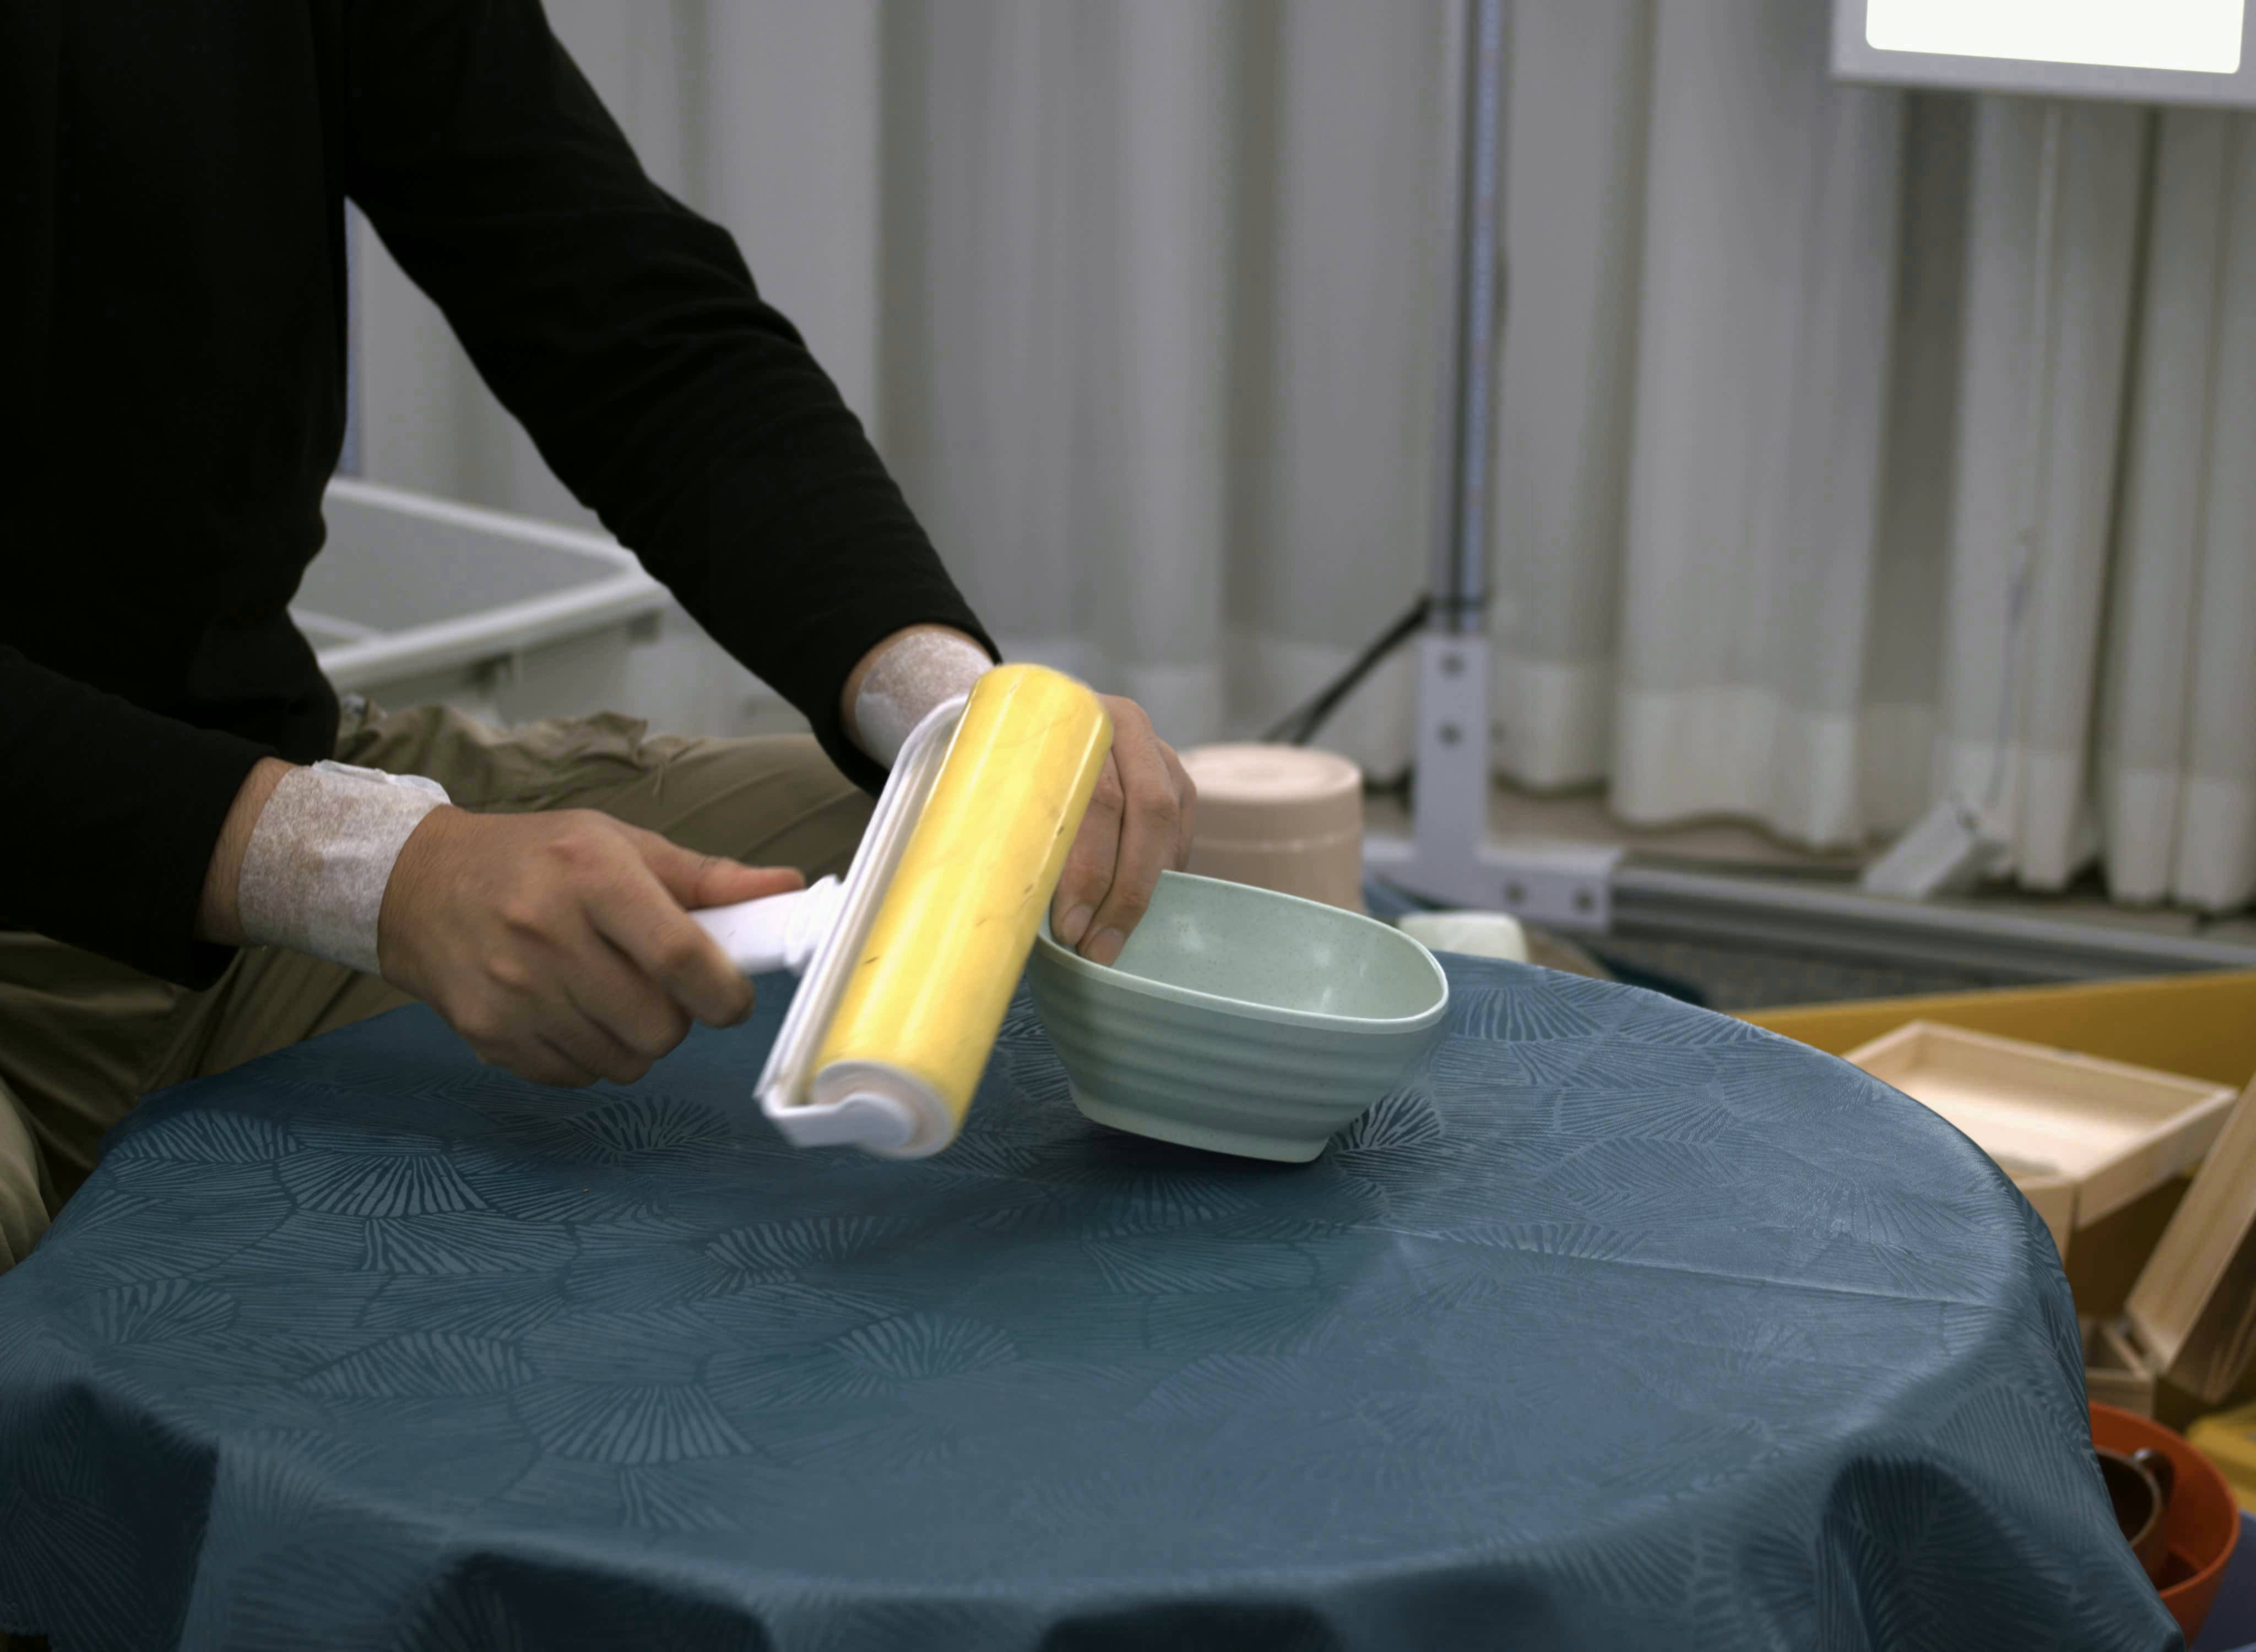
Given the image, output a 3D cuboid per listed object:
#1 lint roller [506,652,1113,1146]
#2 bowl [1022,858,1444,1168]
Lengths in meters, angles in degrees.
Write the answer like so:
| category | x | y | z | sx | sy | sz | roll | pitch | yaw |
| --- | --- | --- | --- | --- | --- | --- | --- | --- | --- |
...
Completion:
| category | x | y | z | sx | sy | sz | roll | pitch | yaw |
| --- | --- | --- | --- | --- | --- | --- | --- | --- | --- |
| lint roller | -0.111 | 0.025 | 1.614 | 0.190 | 0.052 | 0.173 | -2 | 47 | 20 |
| bowl | 0.026 | 0.063 | 1.665 | 0.151 | 0.059 | 0.150 | 13 | 15 | -3 |
